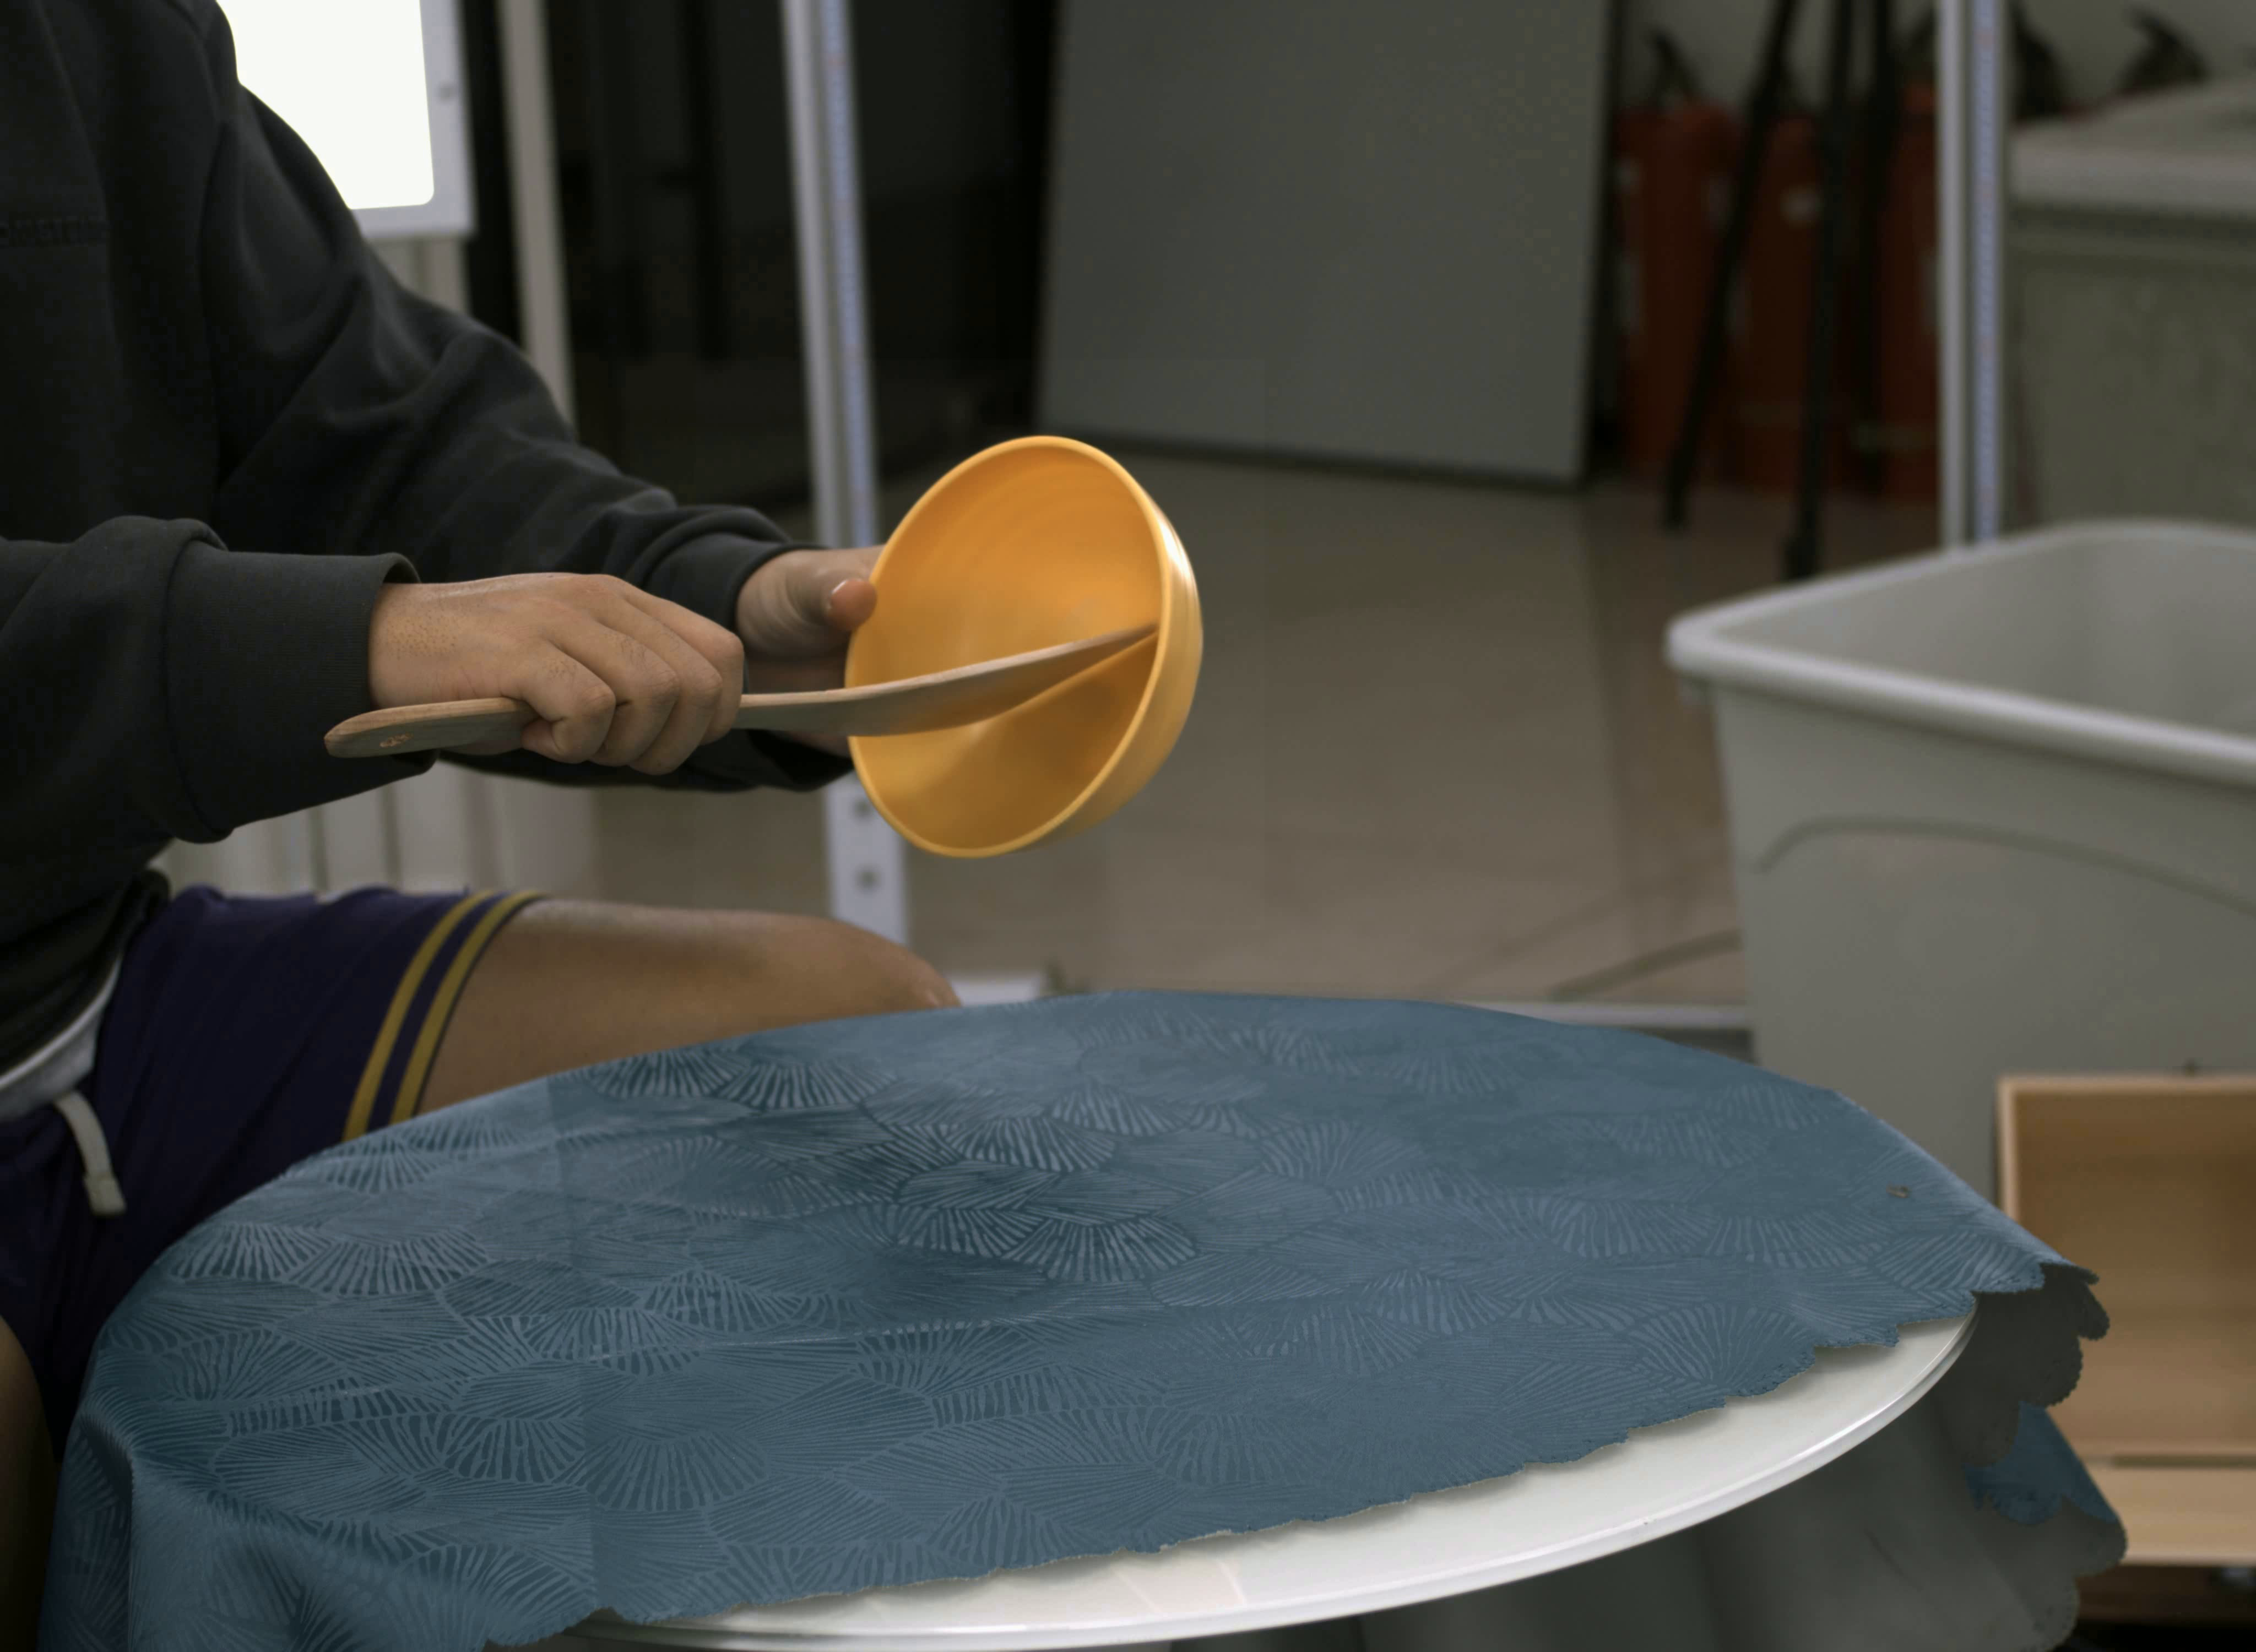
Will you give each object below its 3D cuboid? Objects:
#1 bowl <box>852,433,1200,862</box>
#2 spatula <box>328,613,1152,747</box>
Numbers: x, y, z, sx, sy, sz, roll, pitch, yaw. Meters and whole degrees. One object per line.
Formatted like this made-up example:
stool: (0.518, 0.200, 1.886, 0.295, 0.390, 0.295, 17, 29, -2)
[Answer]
bowl: (-0.022, -0.052, 1.797, 0.059, 0.147, 0.147, 19, -5, -42)
spatula: (-0.120, -0.042, 1.701, 0.320, 0.017, 0.080, -4, -19, -45)
